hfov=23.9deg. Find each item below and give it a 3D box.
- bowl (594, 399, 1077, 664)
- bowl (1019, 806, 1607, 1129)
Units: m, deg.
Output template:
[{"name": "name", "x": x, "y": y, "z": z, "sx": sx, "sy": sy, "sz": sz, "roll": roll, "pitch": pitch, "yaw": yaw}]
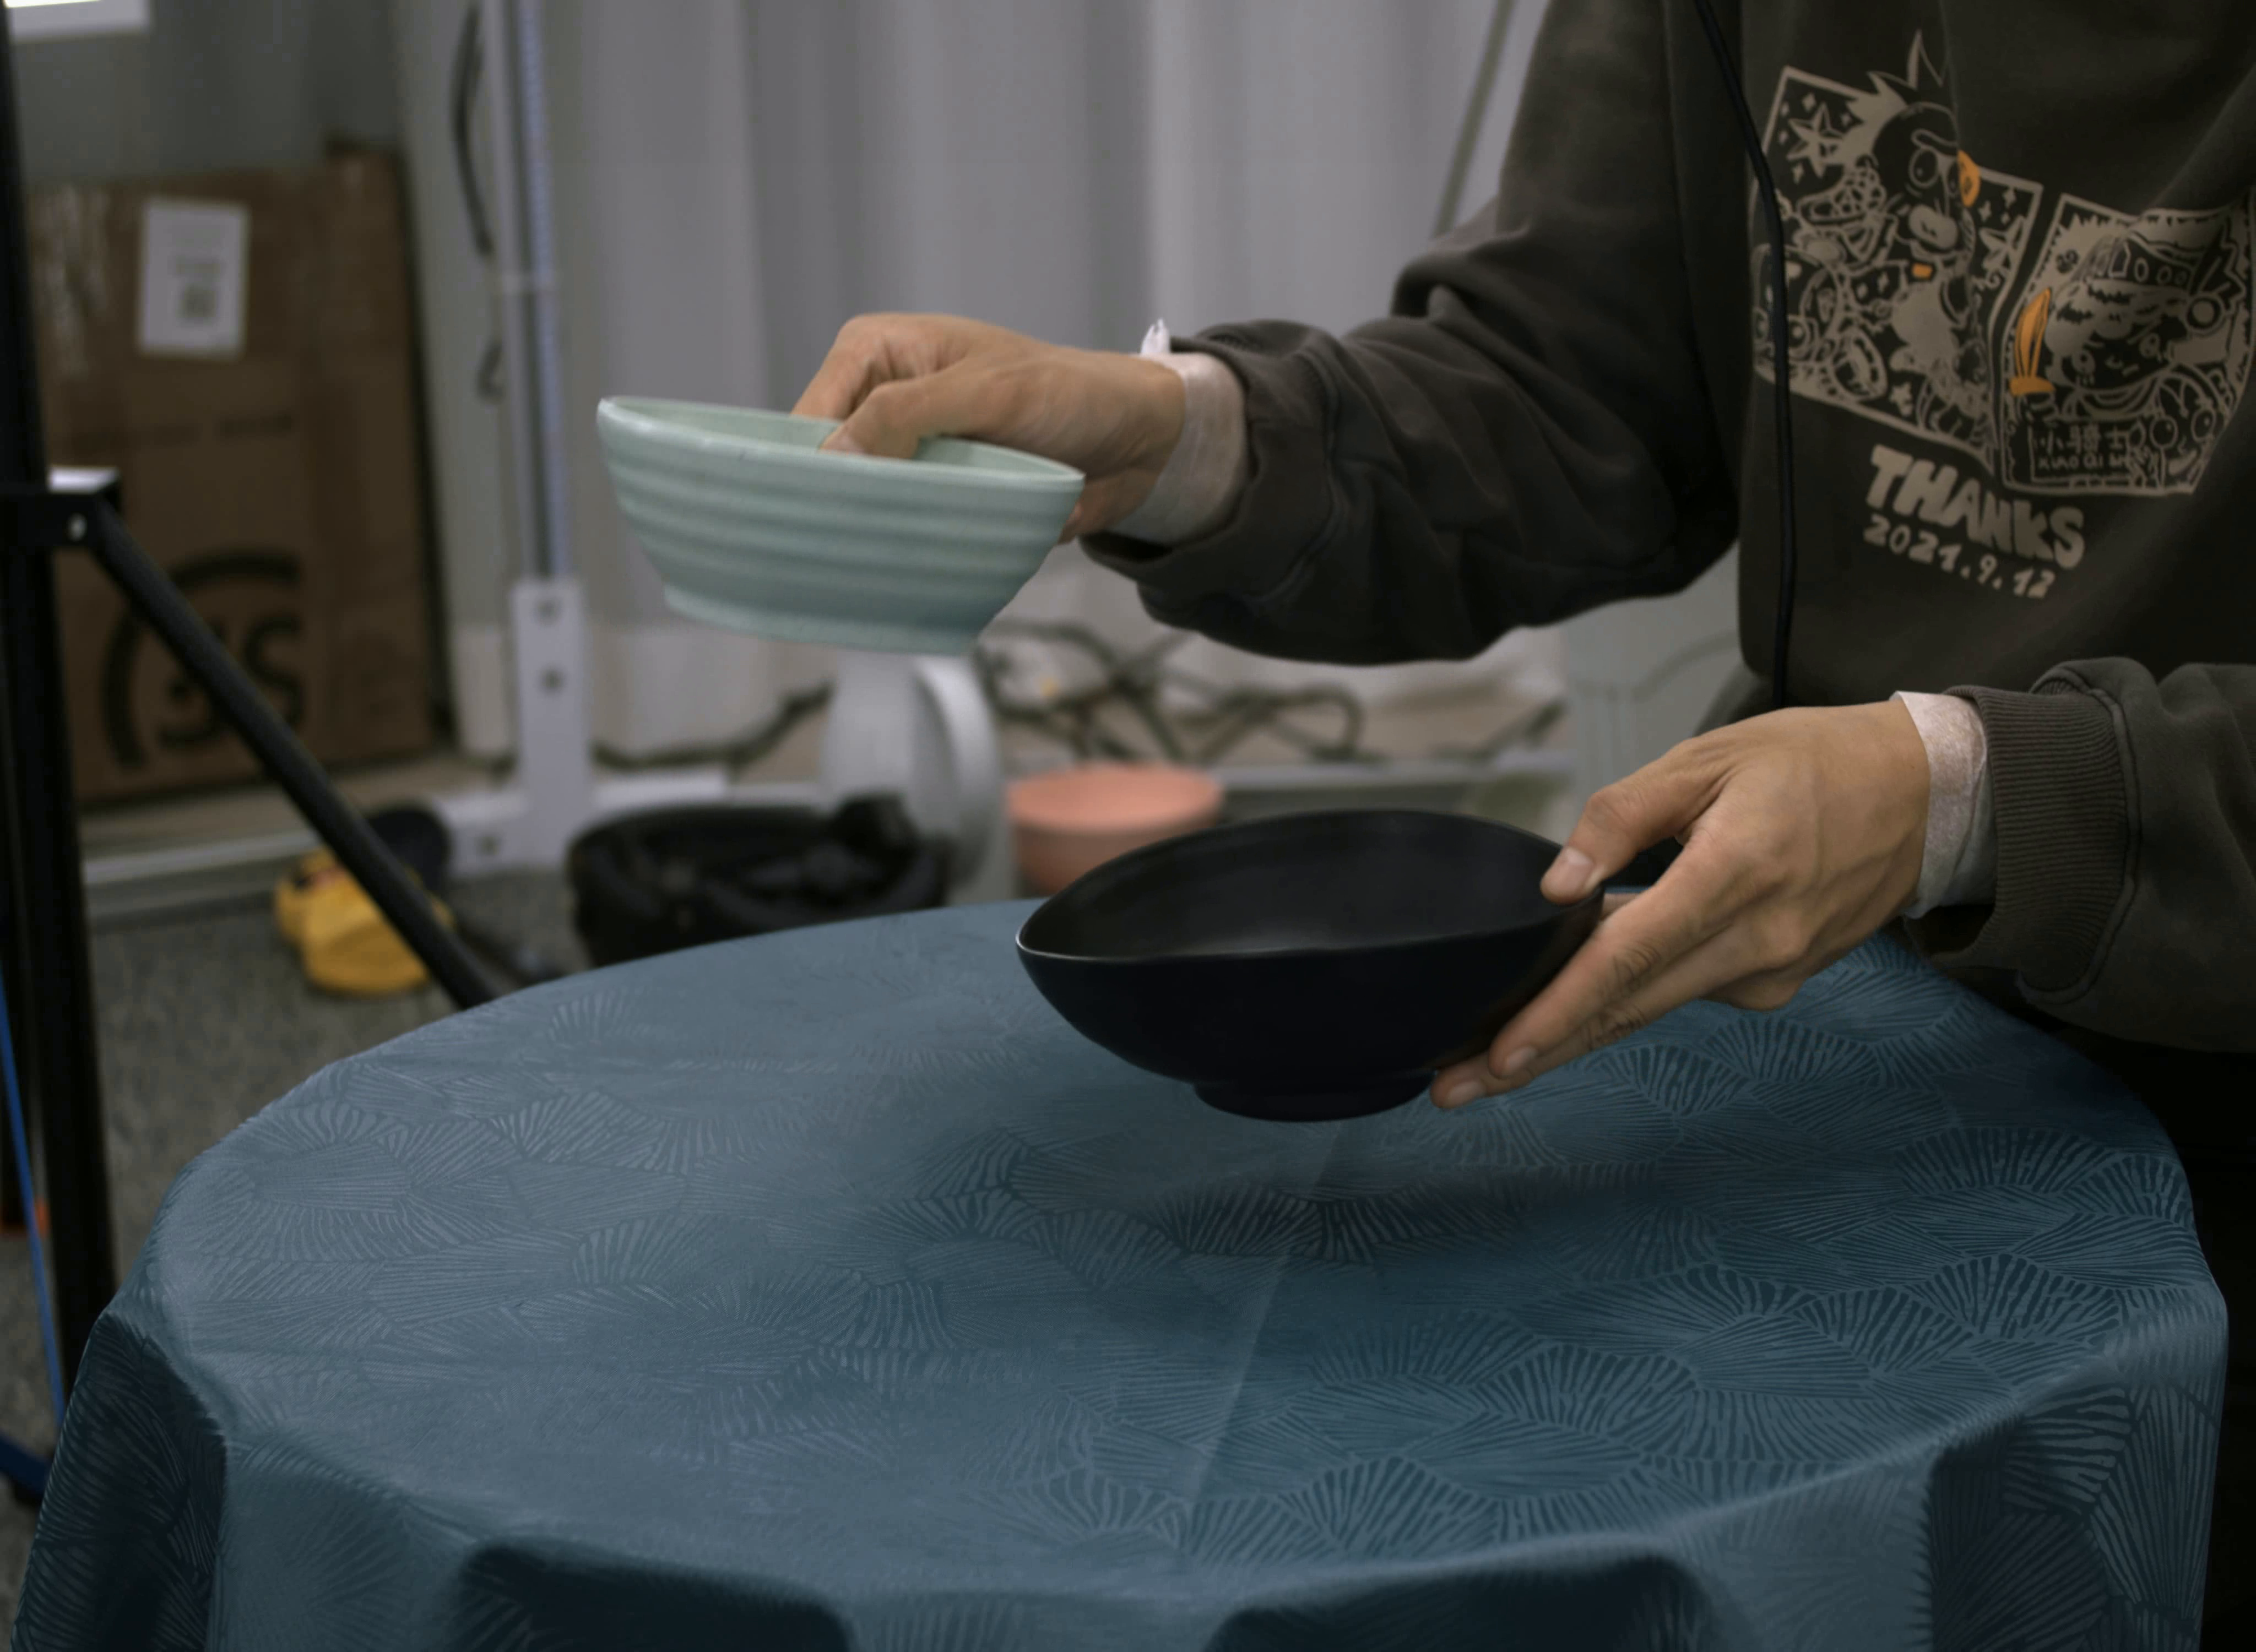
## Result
[{"name": "bowl", "x": -0.091, "y": -0.086, "z": 1.588, "sx": 0.150, "sy": 0.059, "sz": 0.152, "roll": 7, "pitch": 10, "yaw": -3}, {"name": "bowl", "x": 0.054, "y": 0.046, "z": 1.527, "sx": 0.170, "sy": 0.066, "sz": 0.138, "roll": -4, "pitch": 16, "yaw": 2}]
